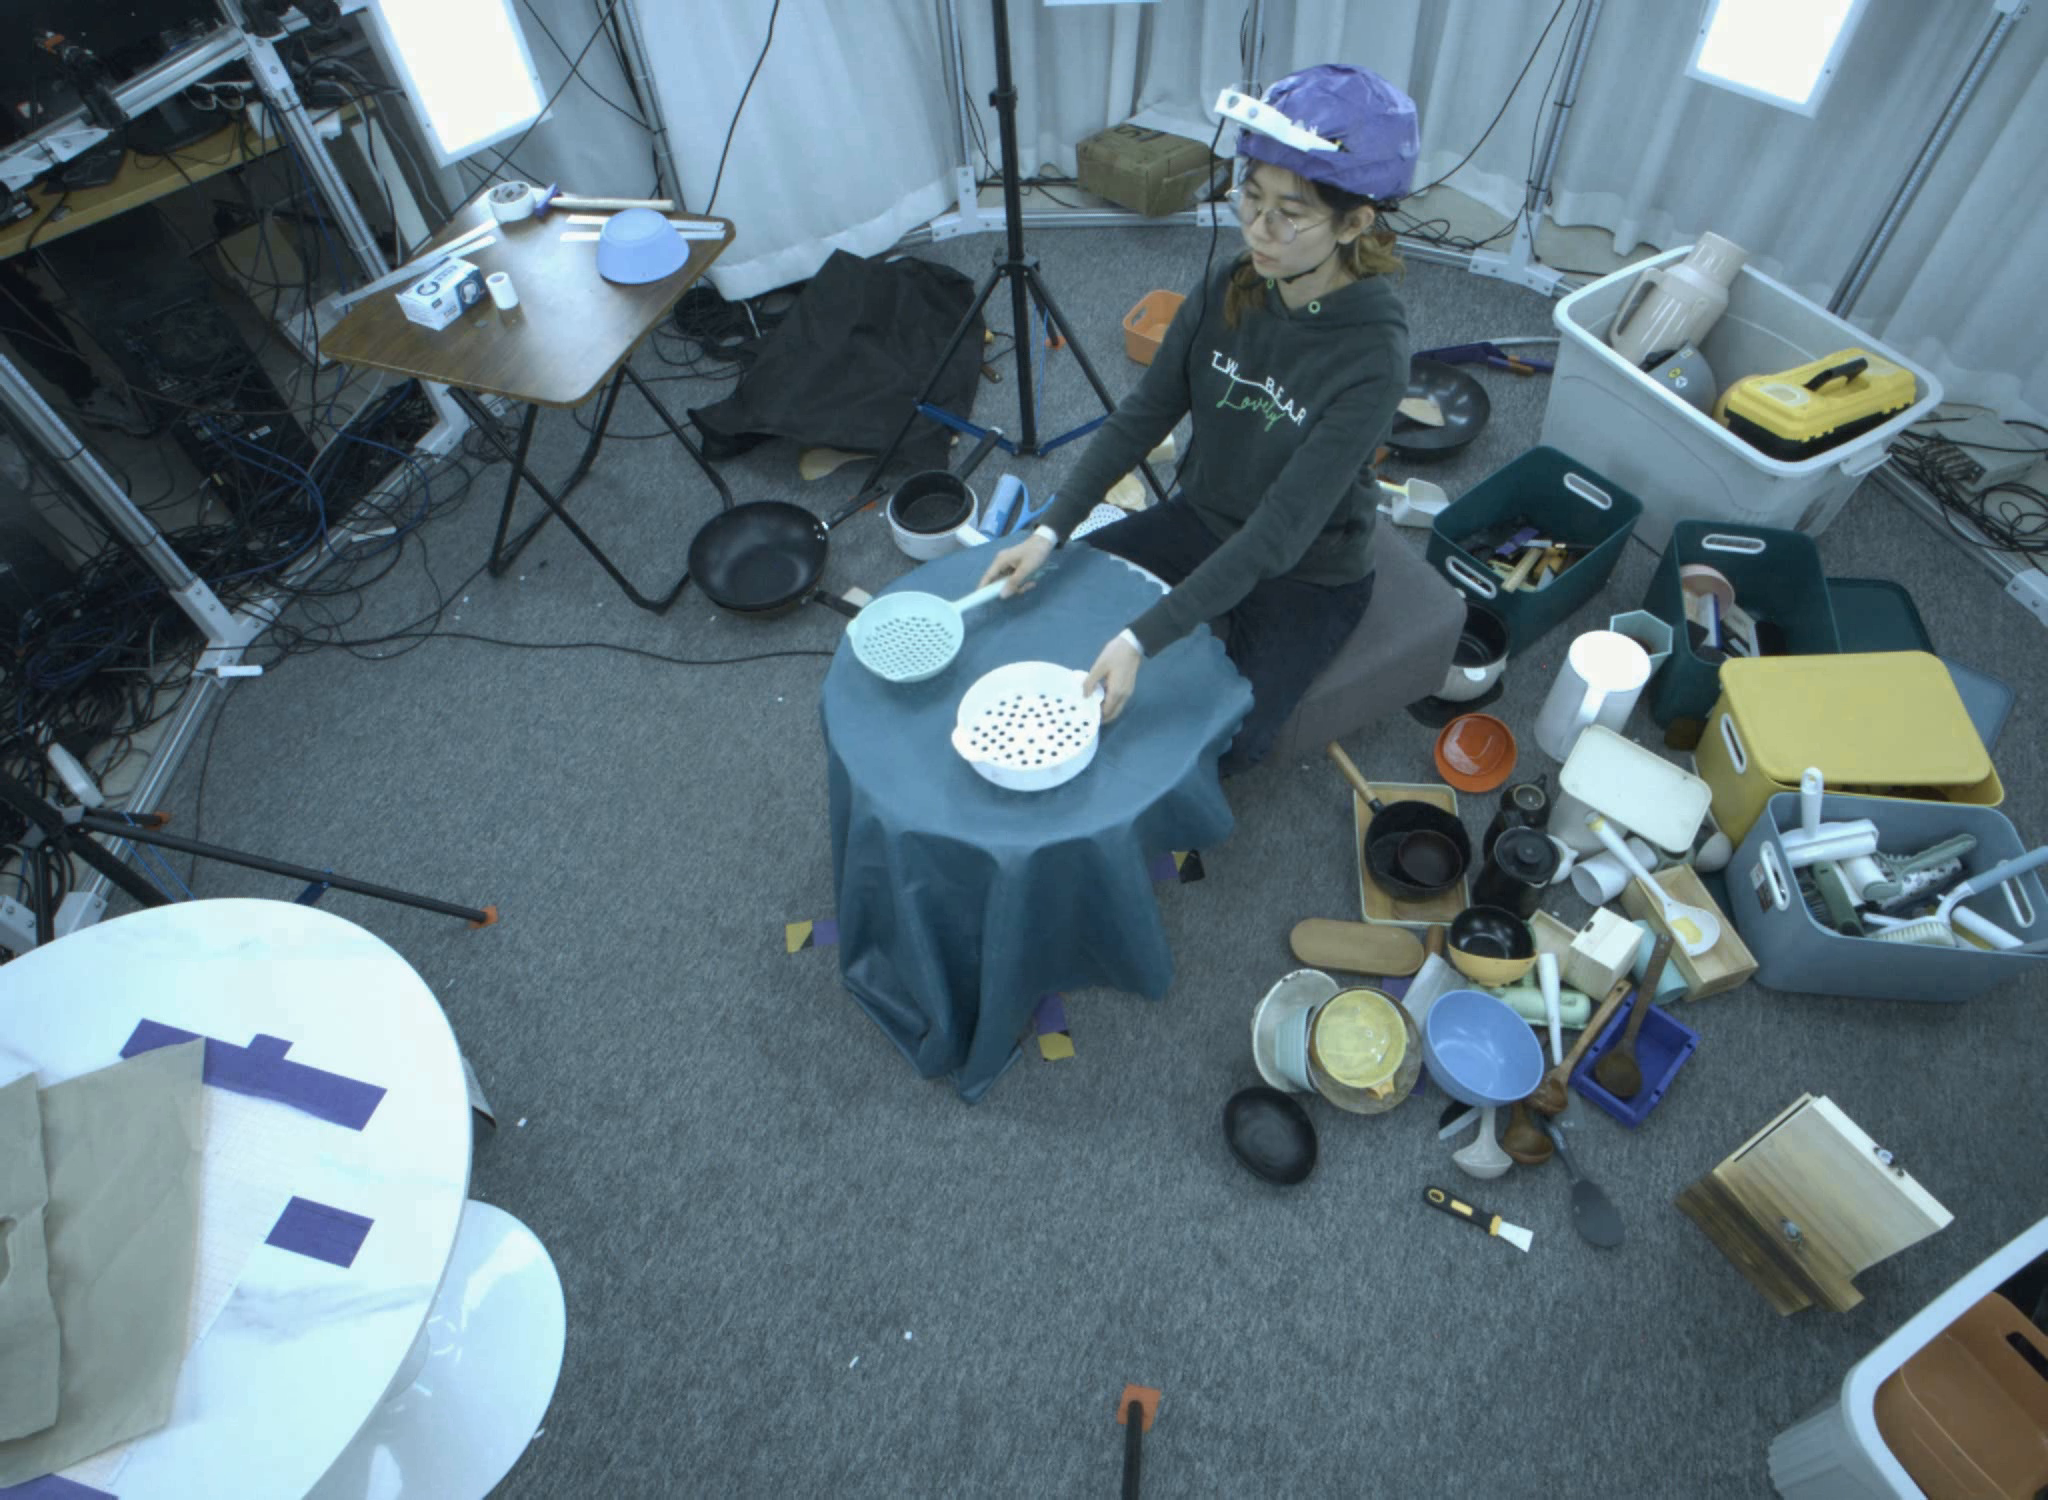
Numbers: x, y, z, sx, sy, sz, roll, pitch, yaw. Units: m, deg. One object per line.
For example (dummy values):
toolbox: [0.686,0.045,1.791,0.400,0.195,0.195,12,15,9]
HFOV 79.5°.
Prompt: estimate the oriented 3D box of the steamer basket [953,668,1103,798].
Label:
steamer basket: [0.008,-0.023,1.766,0.232,0.070,0.198,-28,57,-18]

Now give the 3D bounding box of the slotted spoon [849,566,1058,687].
slotted spoon: [-0.096,-0.210,1.898,0.361,0.076,0.166,-35,64,-15]
